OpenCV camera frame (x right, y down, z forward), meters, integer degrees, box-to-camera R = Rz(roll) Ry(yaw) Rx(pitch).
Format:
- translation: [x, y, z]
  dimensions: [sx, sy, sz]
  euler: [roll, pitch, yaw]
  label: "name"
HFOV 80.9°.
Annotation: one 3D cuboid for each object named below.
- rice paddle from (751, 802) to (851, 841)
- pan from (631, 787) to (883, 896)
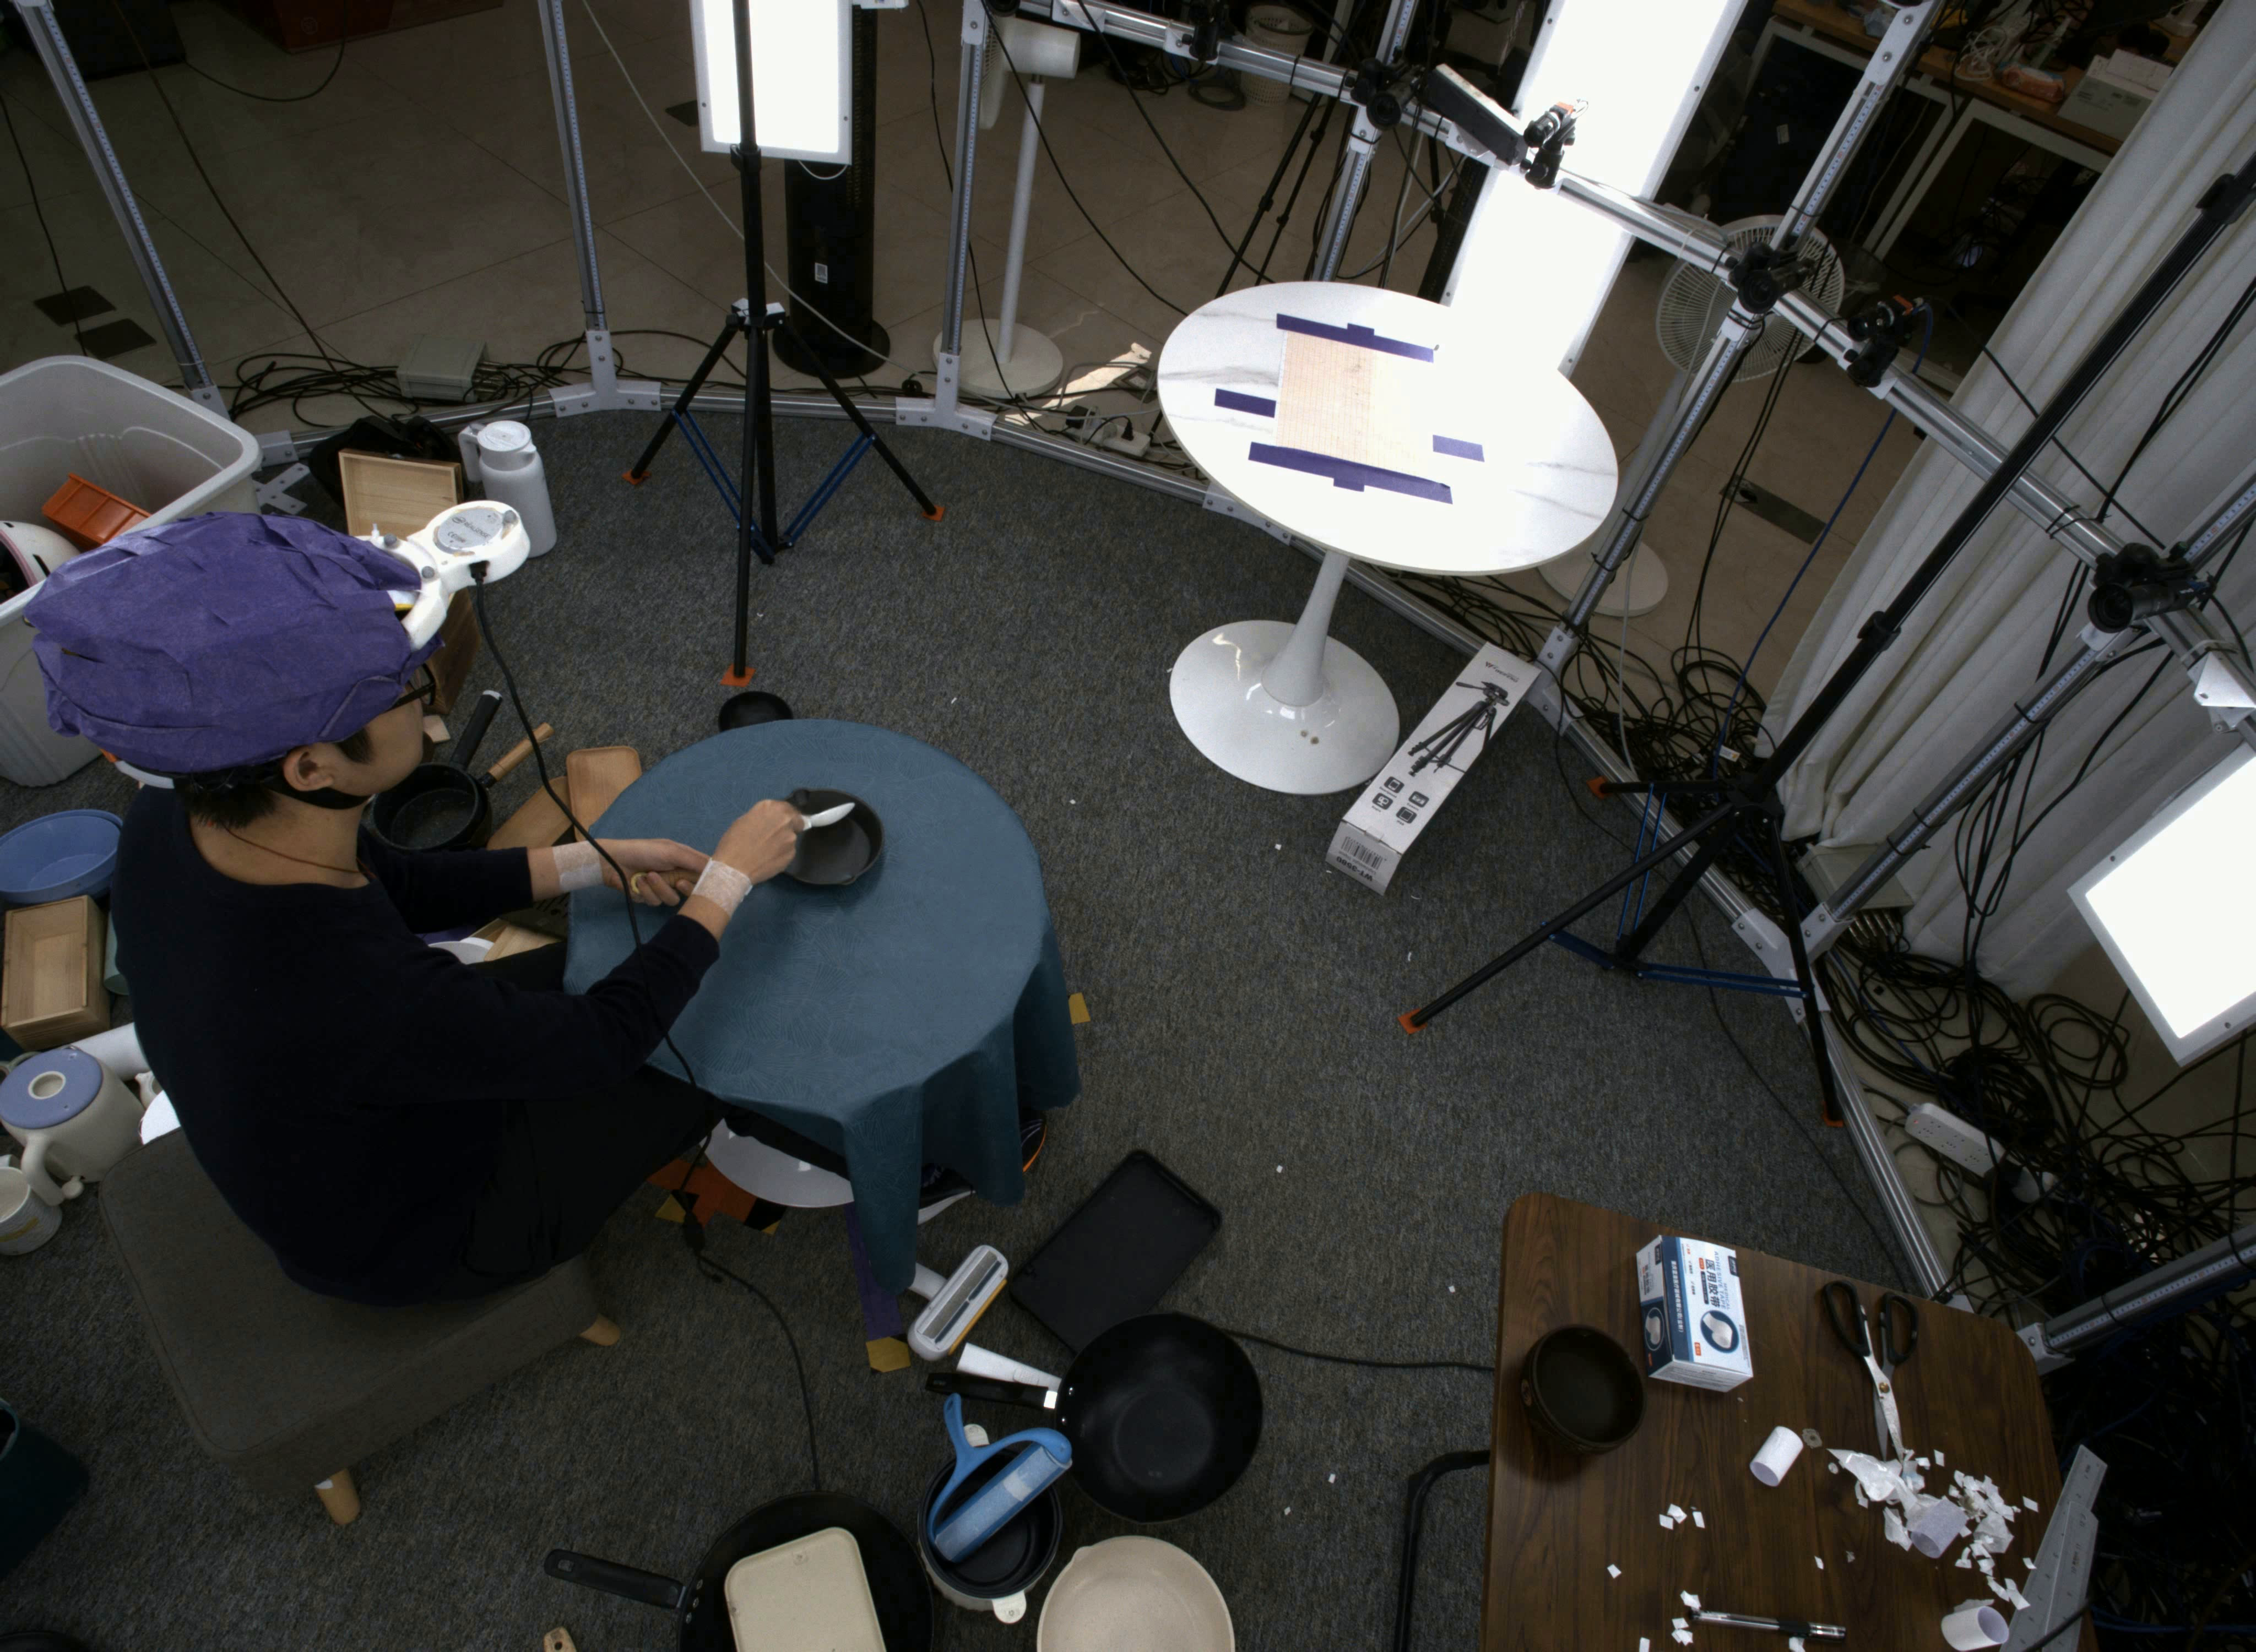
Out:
- translation: [-0.409, -0.012, 1.629]
  dimensions: [0.067, 0.206, 0.030]
  euler: [-21, 91, 15]
  label: "rice paddle"
- translation: [-0.467, 0.037, 1.635]
  dimensions: [0.326, 0.050, 0.165]
  euler: [-16, 59, -29]
  label: "pan"
